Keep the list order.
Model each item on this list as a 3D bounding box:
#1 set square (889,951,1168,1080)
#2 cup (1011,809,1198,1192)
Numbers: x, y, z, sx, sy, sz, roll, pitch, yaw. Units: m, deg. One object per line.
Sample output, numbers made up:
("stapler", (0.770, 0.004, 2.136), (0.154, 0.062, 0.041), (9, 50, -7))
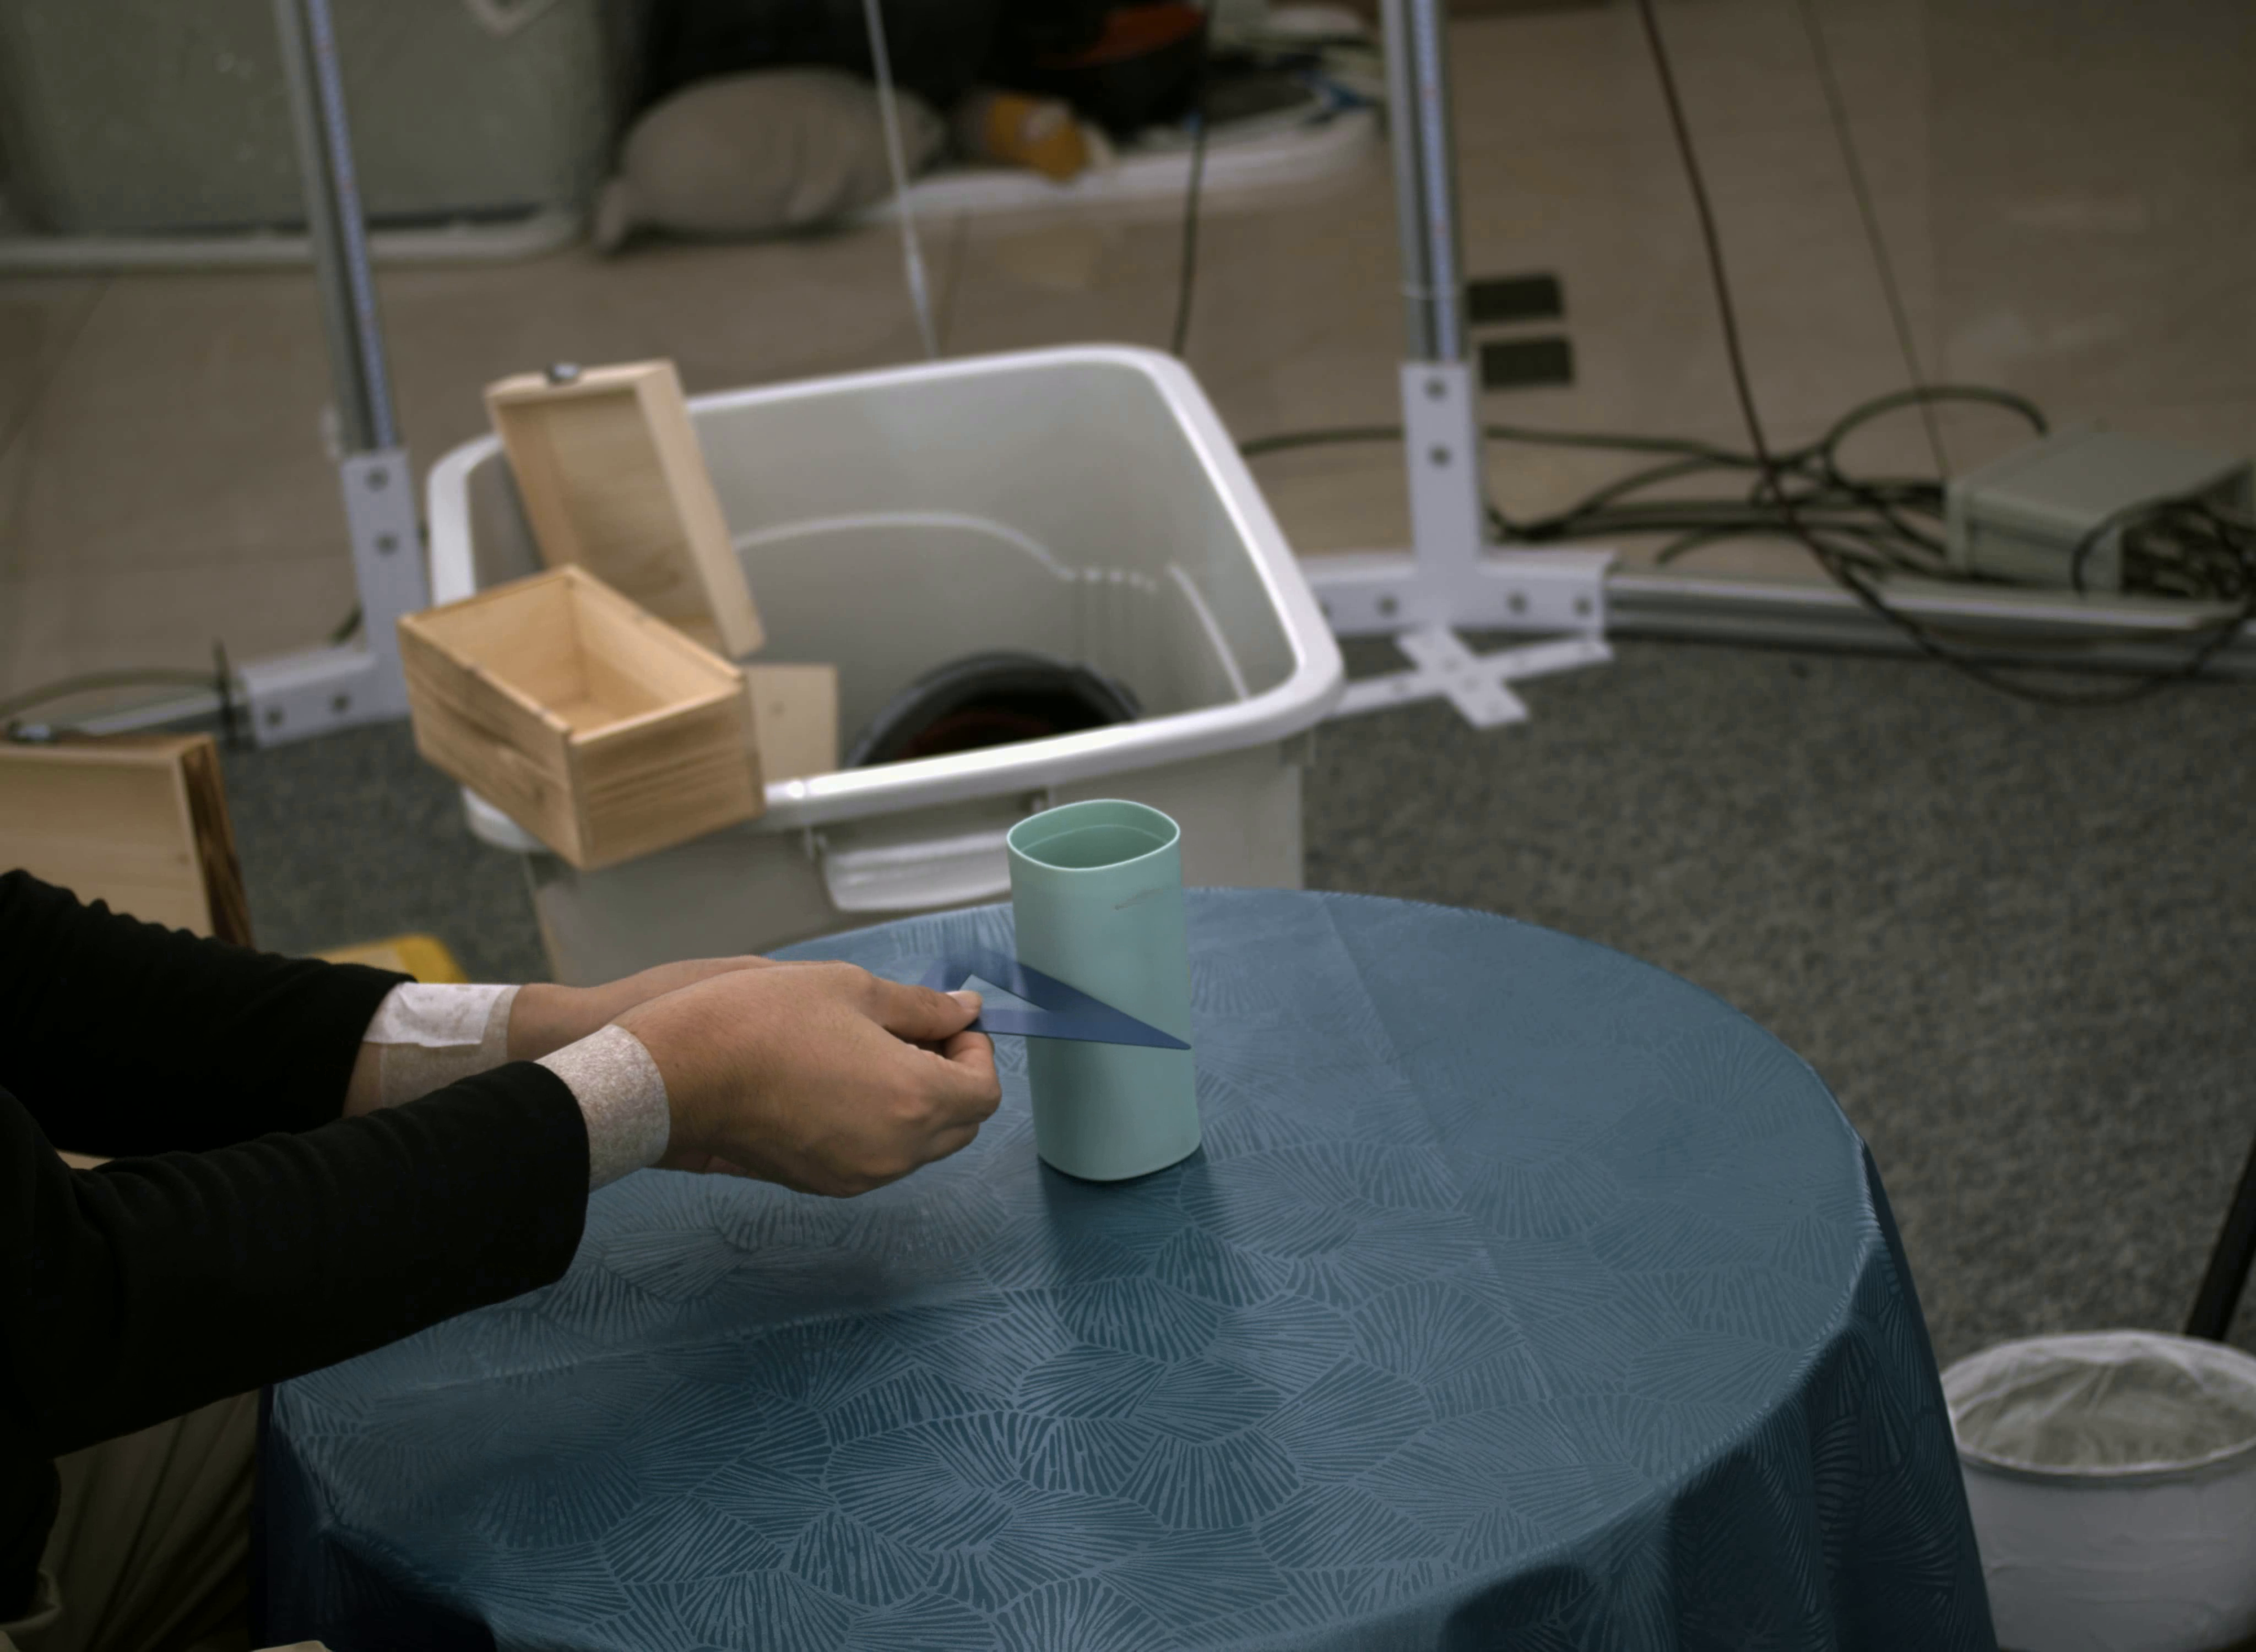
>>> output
("set square", (-0.043, 0.076, 2.088), (0.061, 0.006, 0.130), (-21, 31, -30))
("cup", (-0.009, 0.066, 2.155), (0.066, 0.134, 0.066), (-3, 24, 1))
